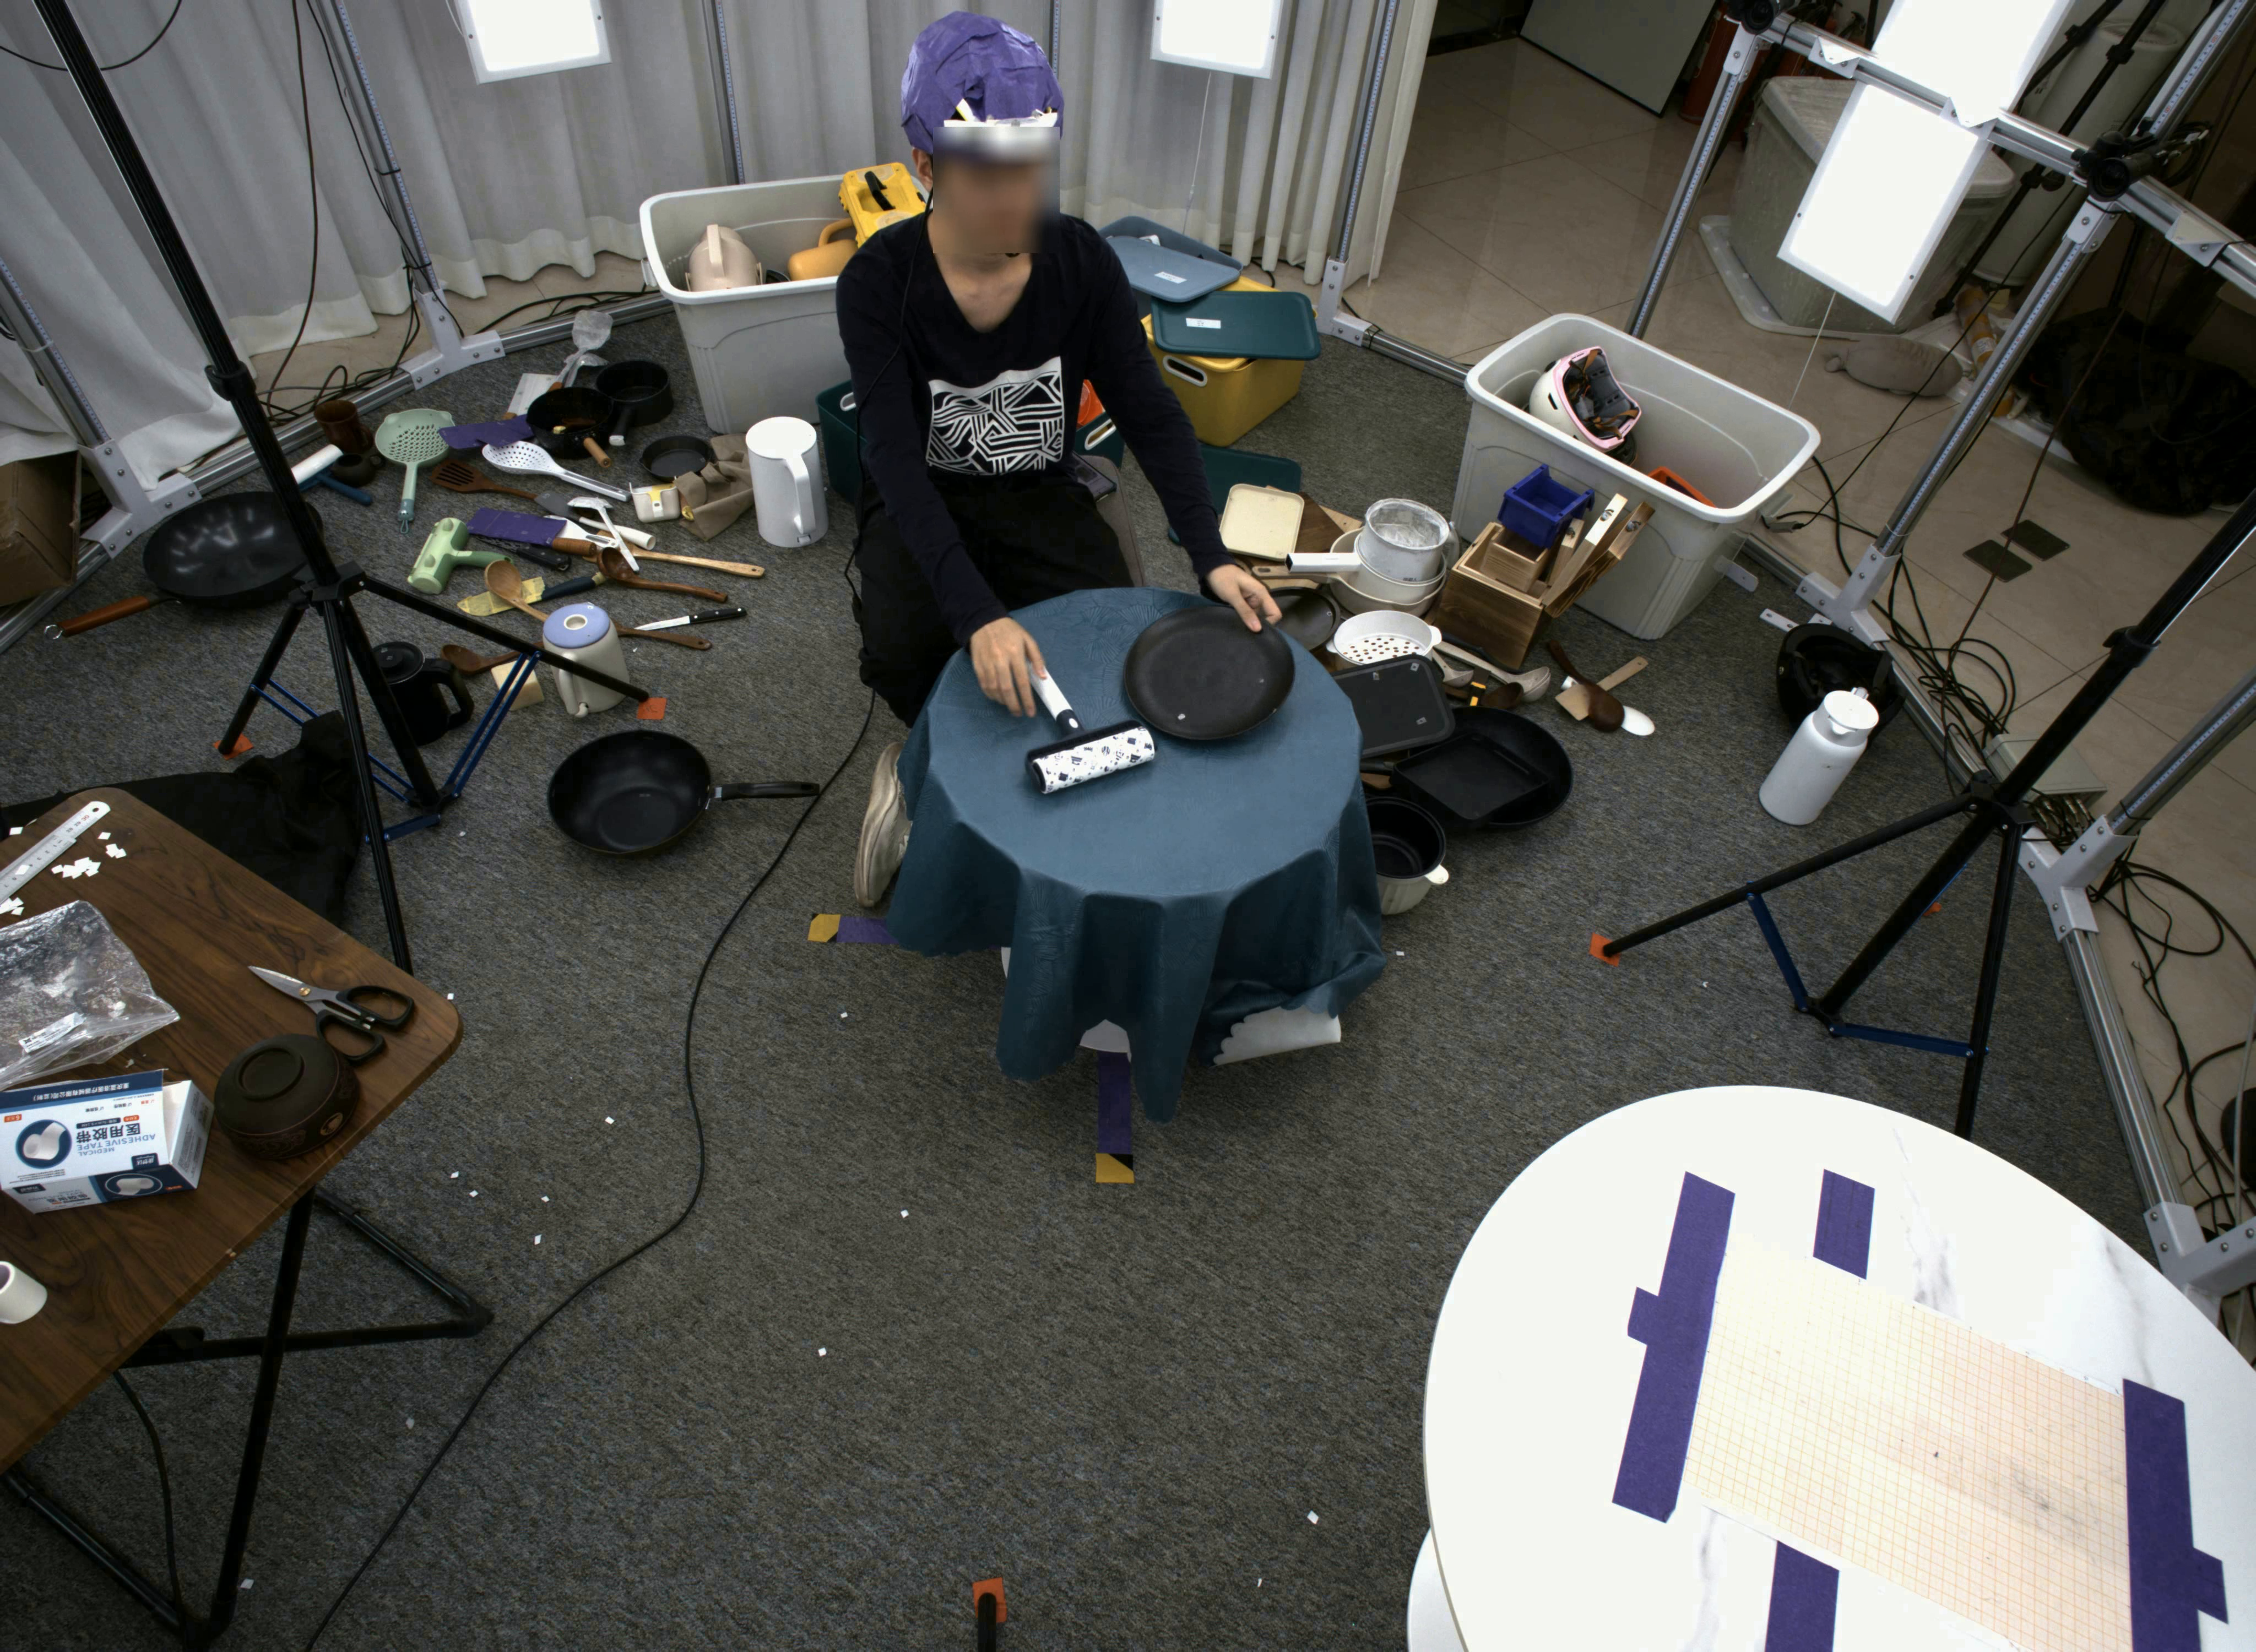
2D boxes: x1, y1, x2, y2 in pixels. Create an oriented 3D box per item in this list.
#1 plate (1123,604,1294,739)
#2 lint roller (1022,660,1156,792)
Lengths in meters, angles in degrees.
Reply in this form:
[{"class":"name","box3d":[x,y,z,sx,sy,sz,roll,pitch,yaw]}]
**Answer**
[{"class":"plate","box3d":[0.114,-0.218,1.828,0.244,0.023,0.250,-3,56,5]},{"class":"lint roller","box3d":[-0.092,-0.158,1.772,0.176,0.049,0.252,-20,50,-18]}]
